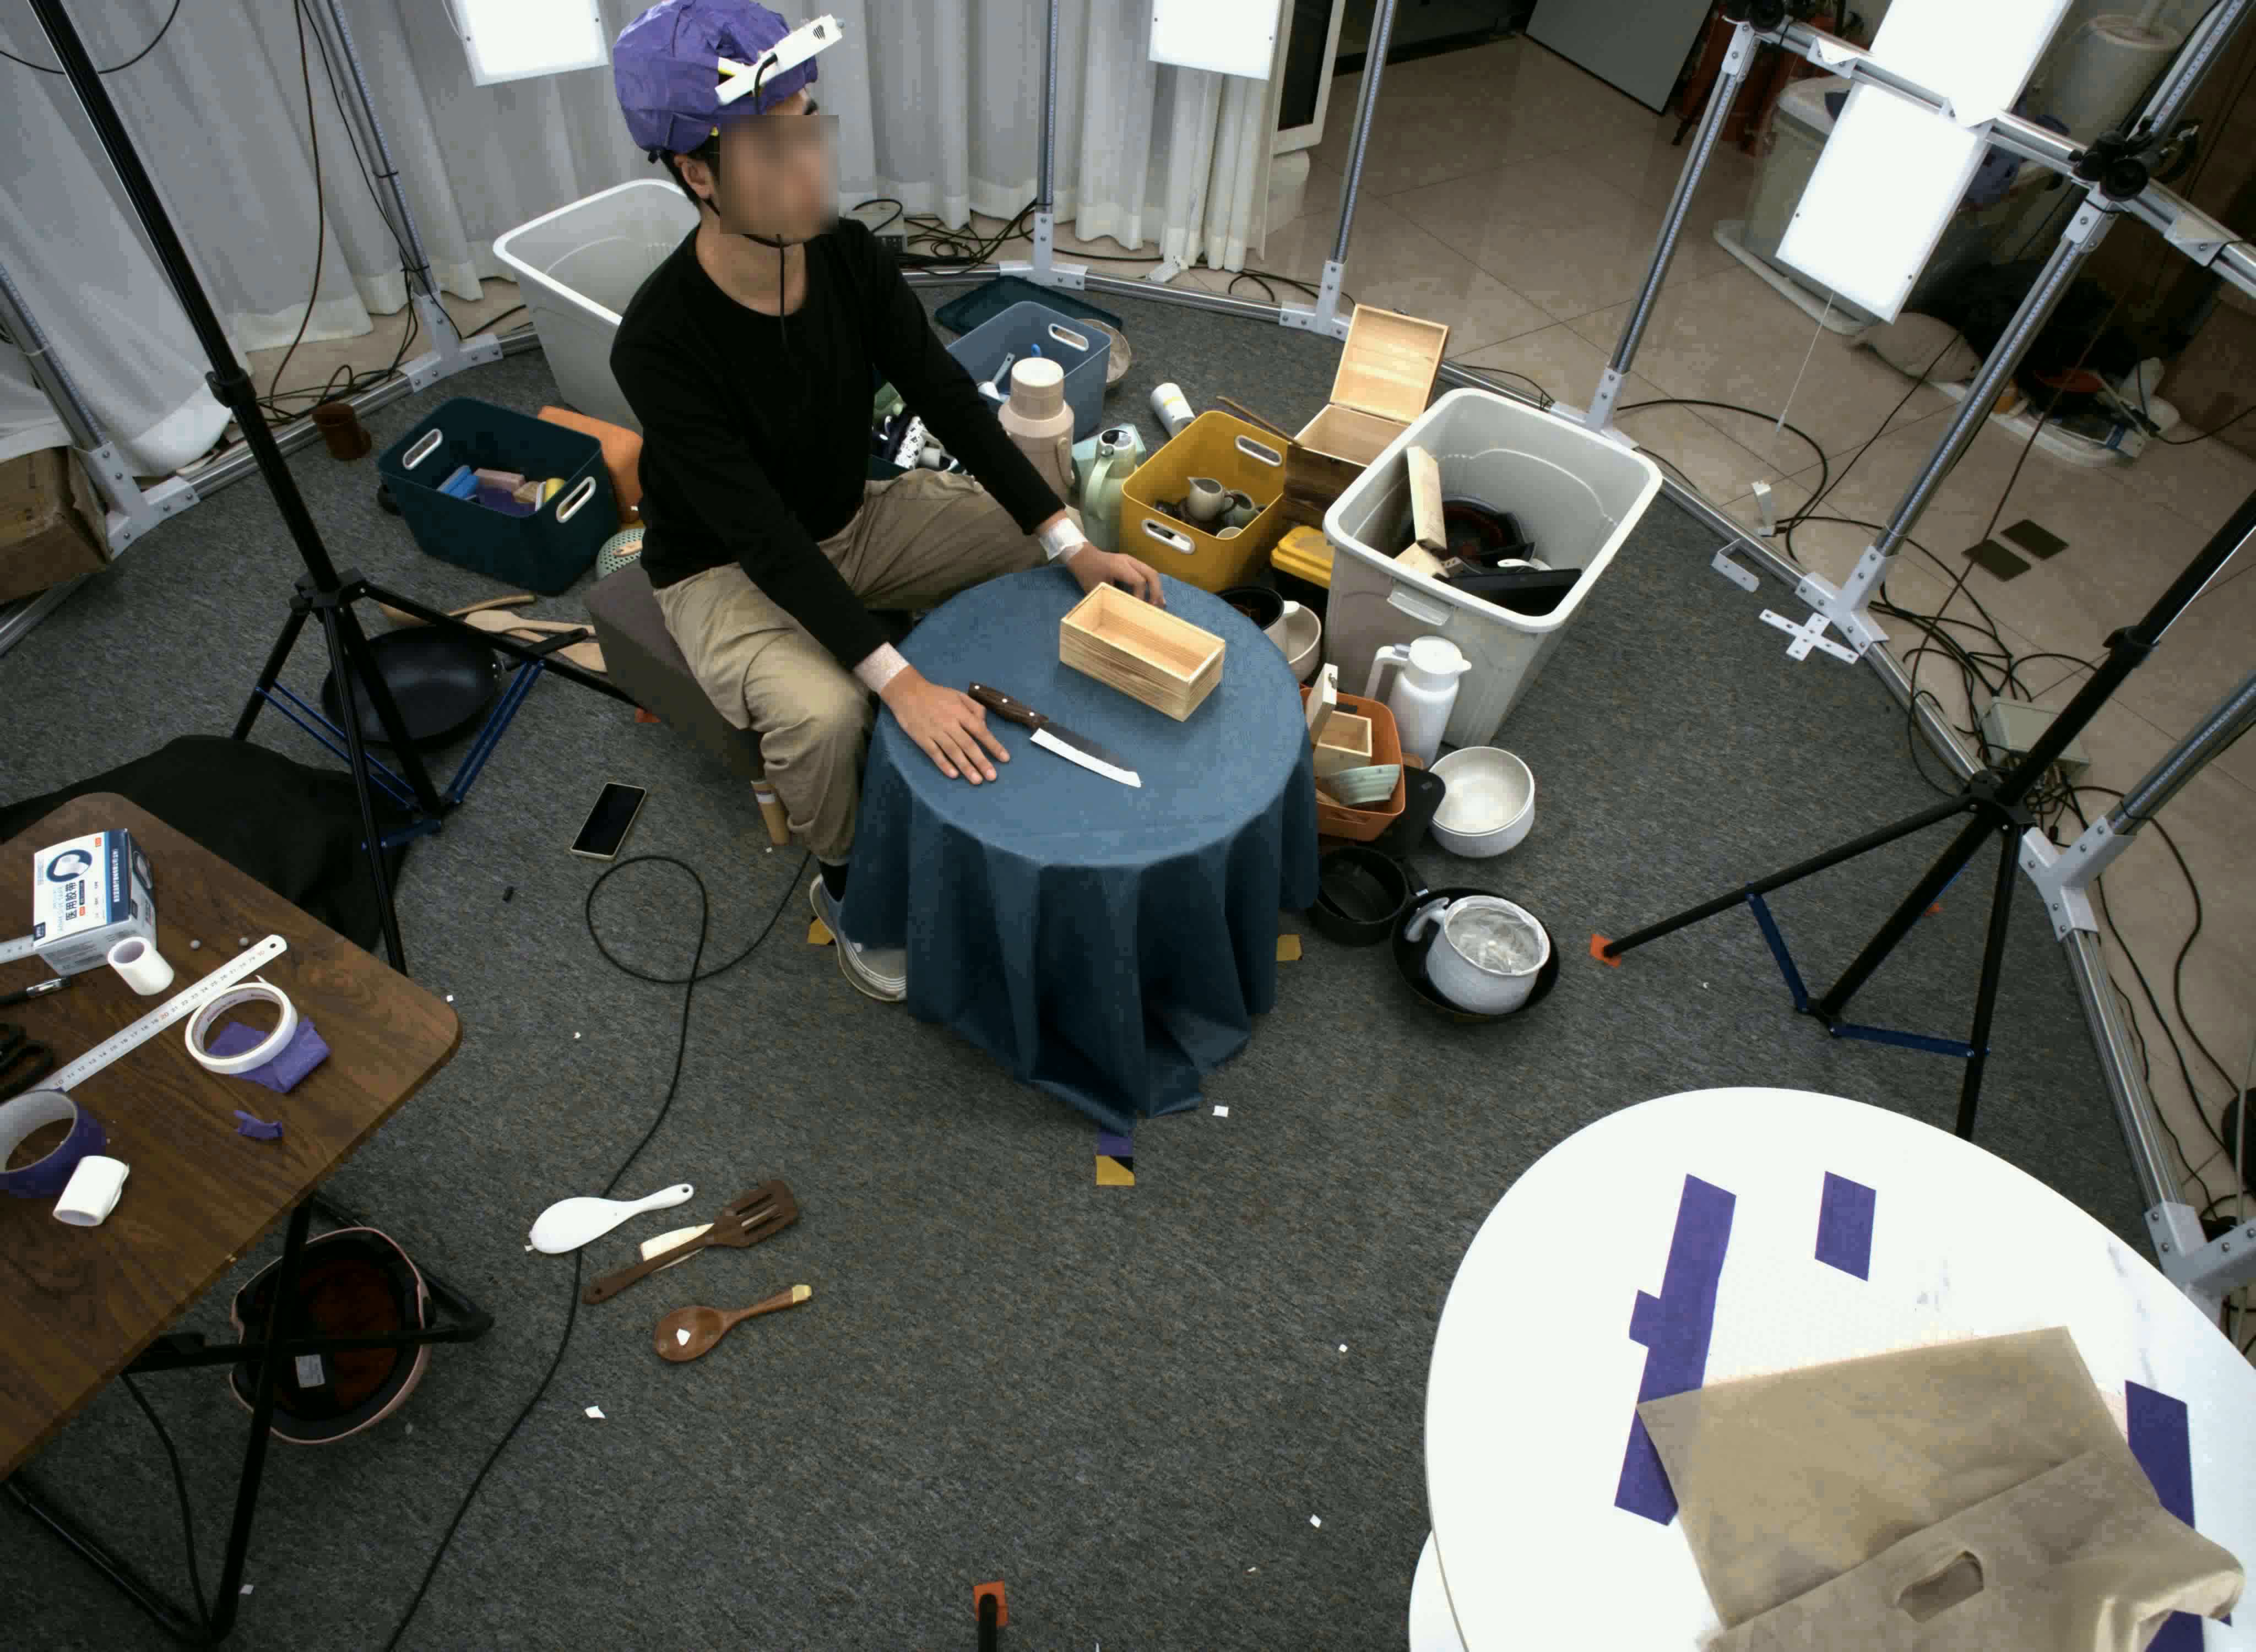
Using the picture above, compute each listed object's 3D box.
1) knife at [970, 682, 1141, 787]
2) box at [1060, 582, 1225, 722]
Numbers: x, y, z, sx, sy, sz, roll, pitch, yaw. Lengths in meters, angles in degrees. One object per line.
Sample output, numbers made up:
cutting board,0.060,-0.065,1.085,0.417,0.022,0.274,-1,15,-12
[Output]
knife,-0.102,-0.126,1.763,0.292,0.019,0.051,30,58,18
box,0.019,-0.251,1.838,0.213,0.078,0.109,29,53,19
